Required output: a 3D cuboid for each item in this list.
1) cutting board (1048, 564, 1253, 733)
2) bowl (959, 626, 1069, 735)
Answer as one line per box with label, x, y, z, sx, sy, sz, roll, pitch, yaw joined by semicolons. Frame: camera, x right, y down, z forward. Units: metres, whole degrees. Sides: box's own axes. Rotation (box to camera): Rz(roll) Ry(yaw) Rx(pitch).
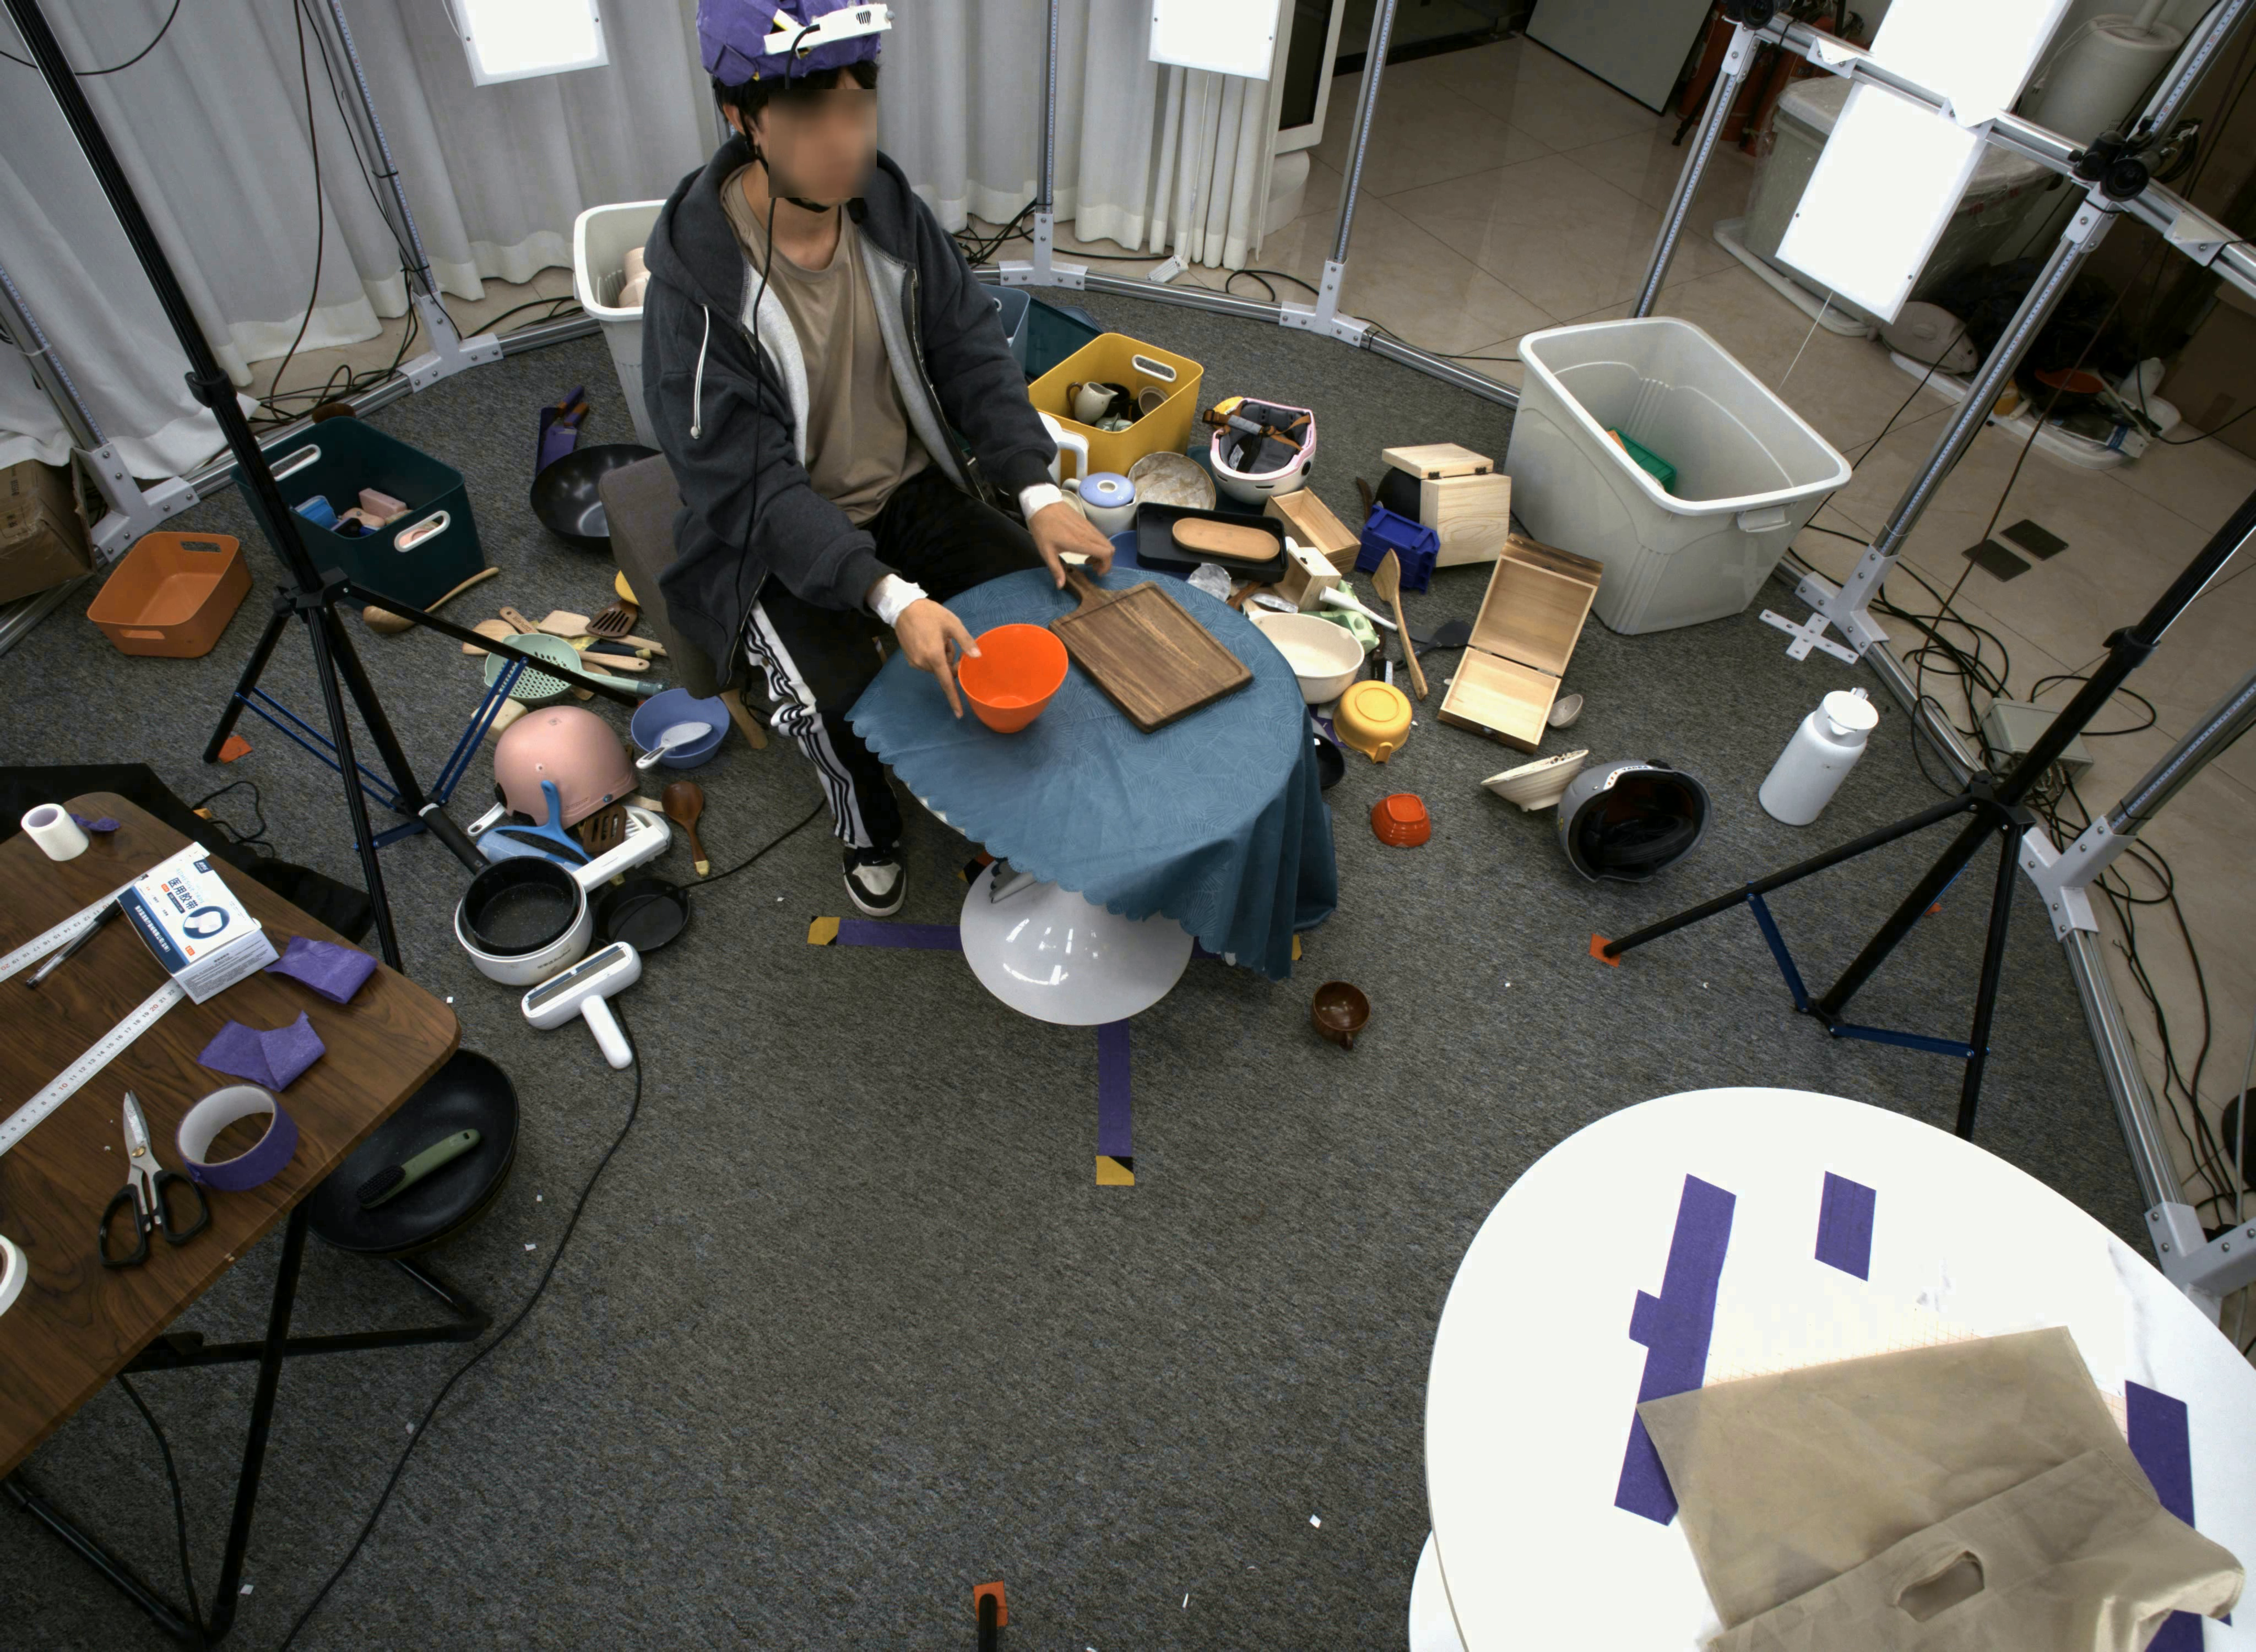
cutting board;0.002;-0.285;1.901;0.202;0.022;0.359;-27;55;-25
bowl;-0.155;-0.188;1.755;0.148;0.102;0.152;2;49;-2
